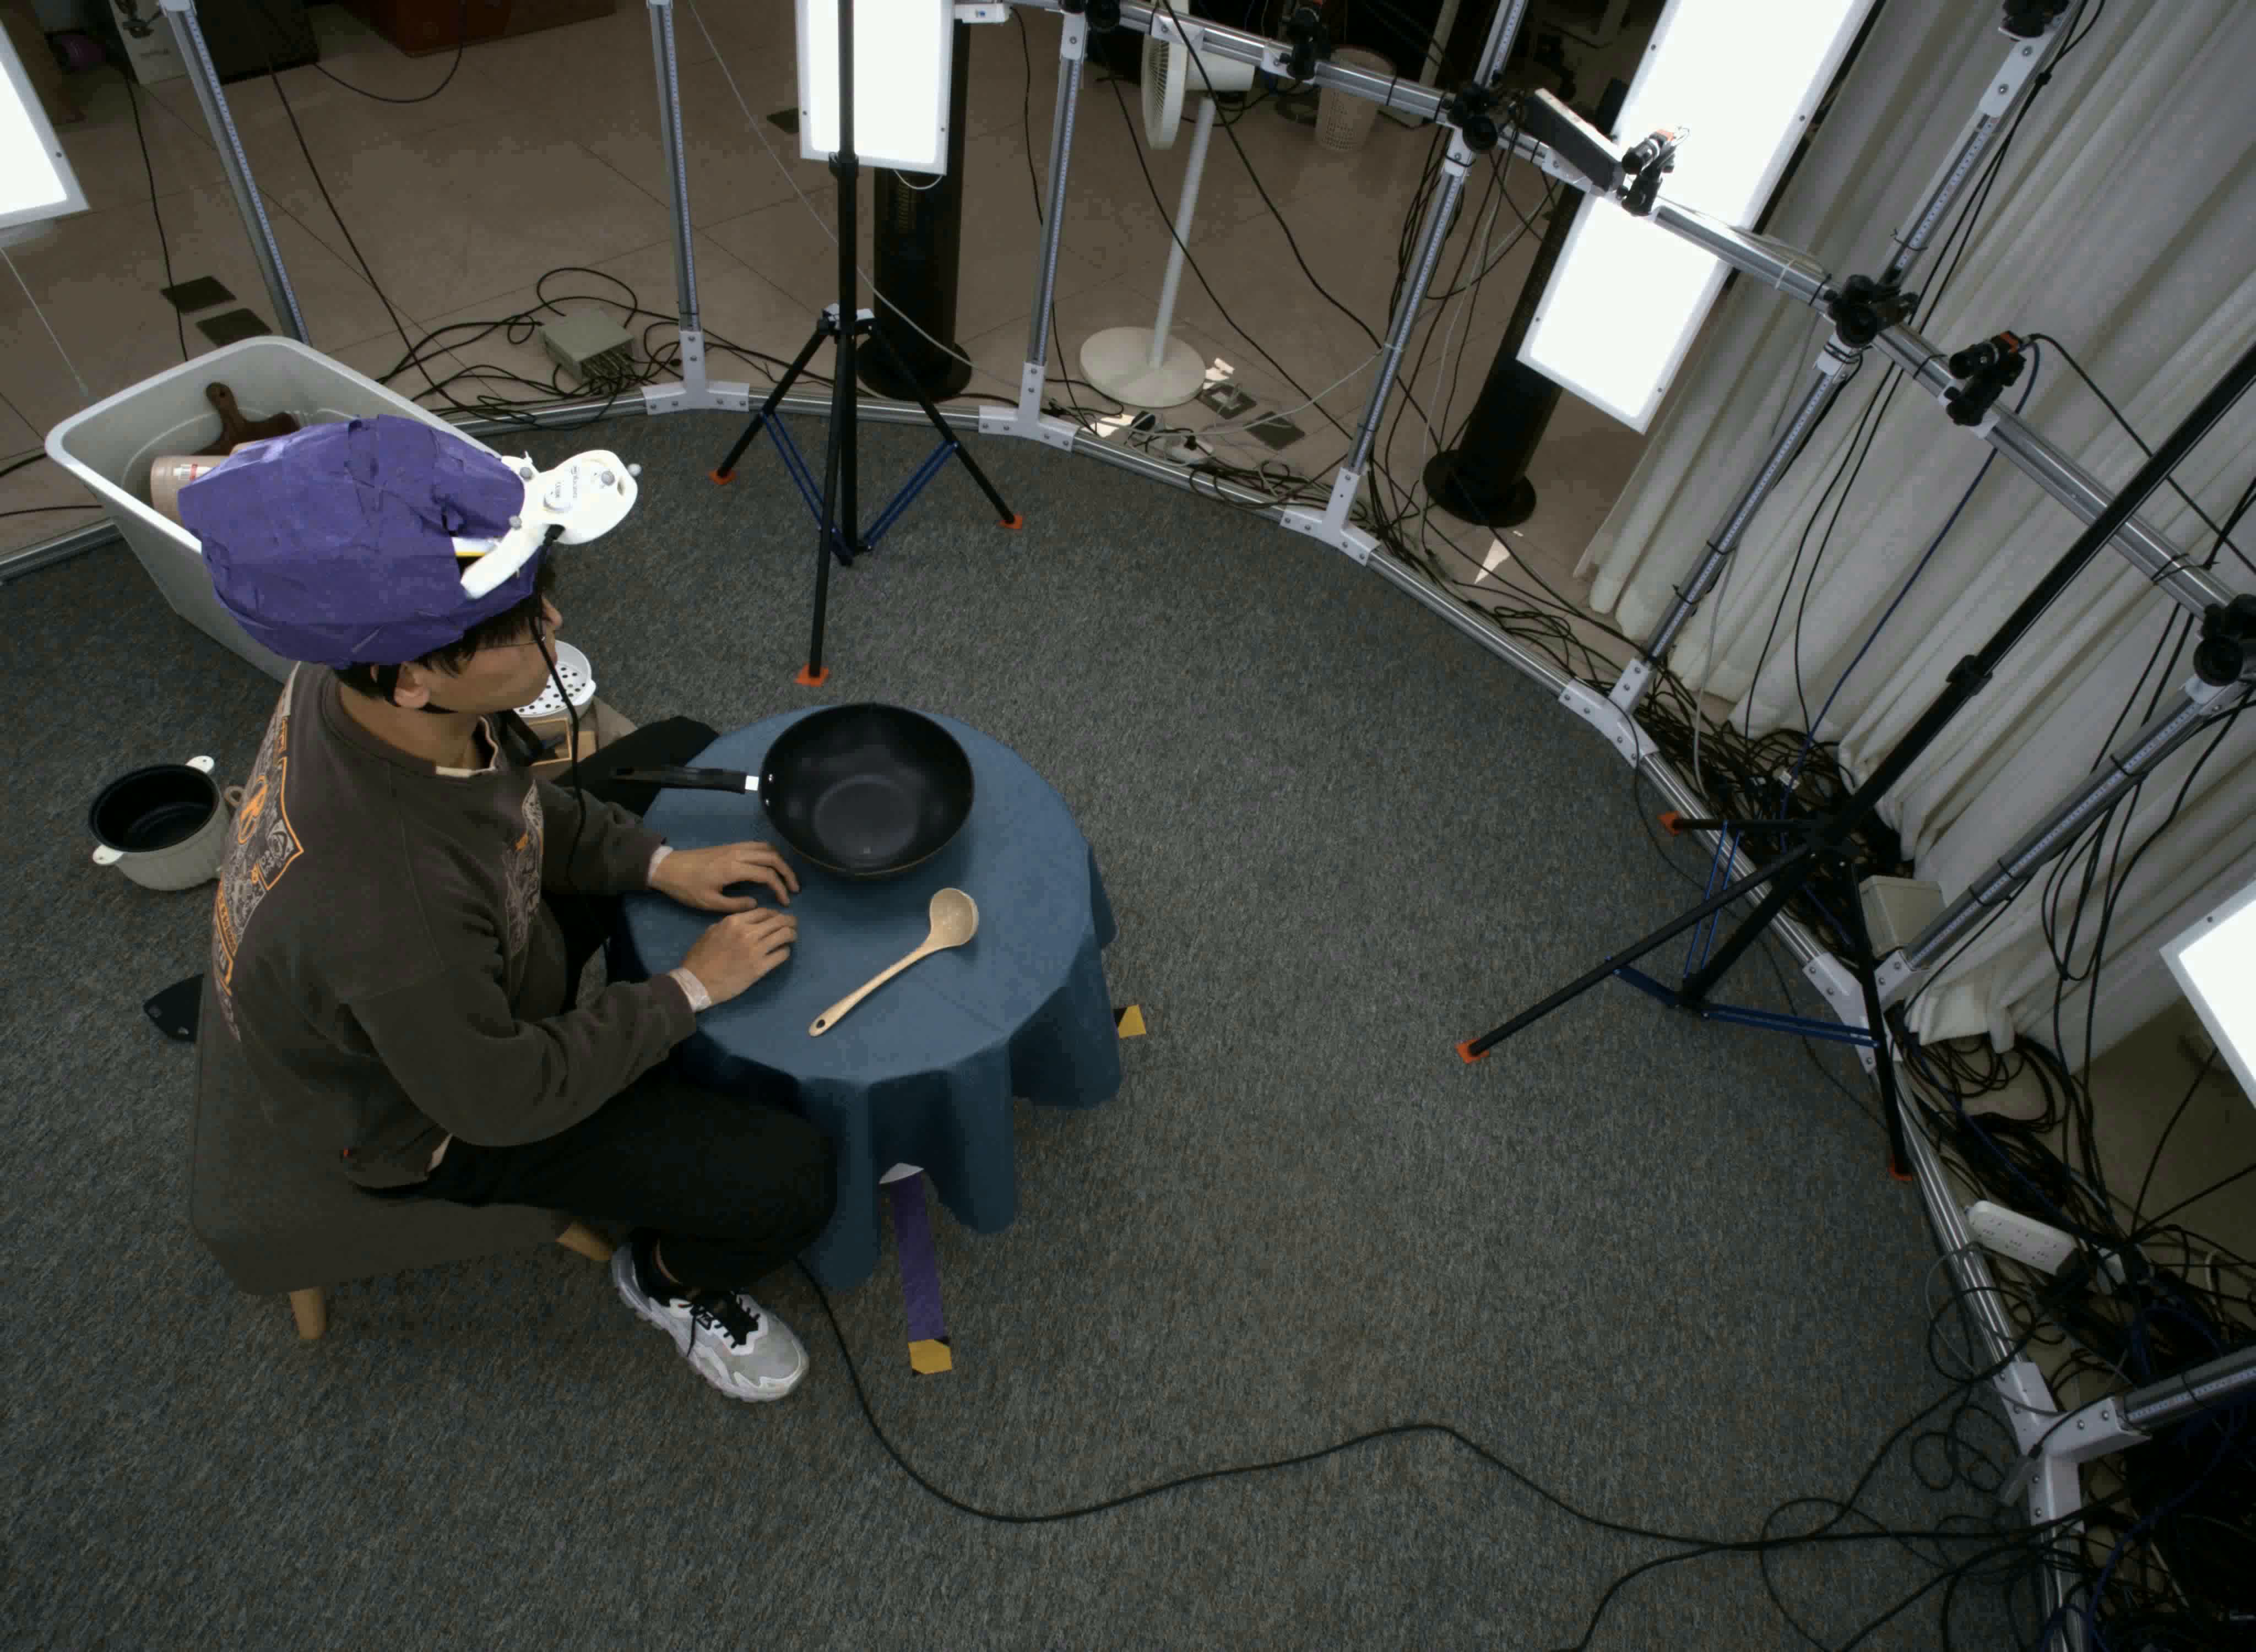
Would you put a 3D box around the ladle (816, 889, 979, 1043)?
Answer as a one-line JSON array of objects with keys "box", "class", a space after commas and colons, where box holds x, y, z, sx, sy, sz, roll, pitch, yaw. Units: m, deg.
[{"box": [-0.286, 0.167, 1.603, 0.071, 0.074, 0.254, 41, 55, 13], "class": "ladle"}]

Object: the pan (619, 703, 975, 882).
[{"box": [-0.433, -0.035, 1.709, 0.463, 0.089, 0.282, 2, 54, -11], "class": "pan"}]
